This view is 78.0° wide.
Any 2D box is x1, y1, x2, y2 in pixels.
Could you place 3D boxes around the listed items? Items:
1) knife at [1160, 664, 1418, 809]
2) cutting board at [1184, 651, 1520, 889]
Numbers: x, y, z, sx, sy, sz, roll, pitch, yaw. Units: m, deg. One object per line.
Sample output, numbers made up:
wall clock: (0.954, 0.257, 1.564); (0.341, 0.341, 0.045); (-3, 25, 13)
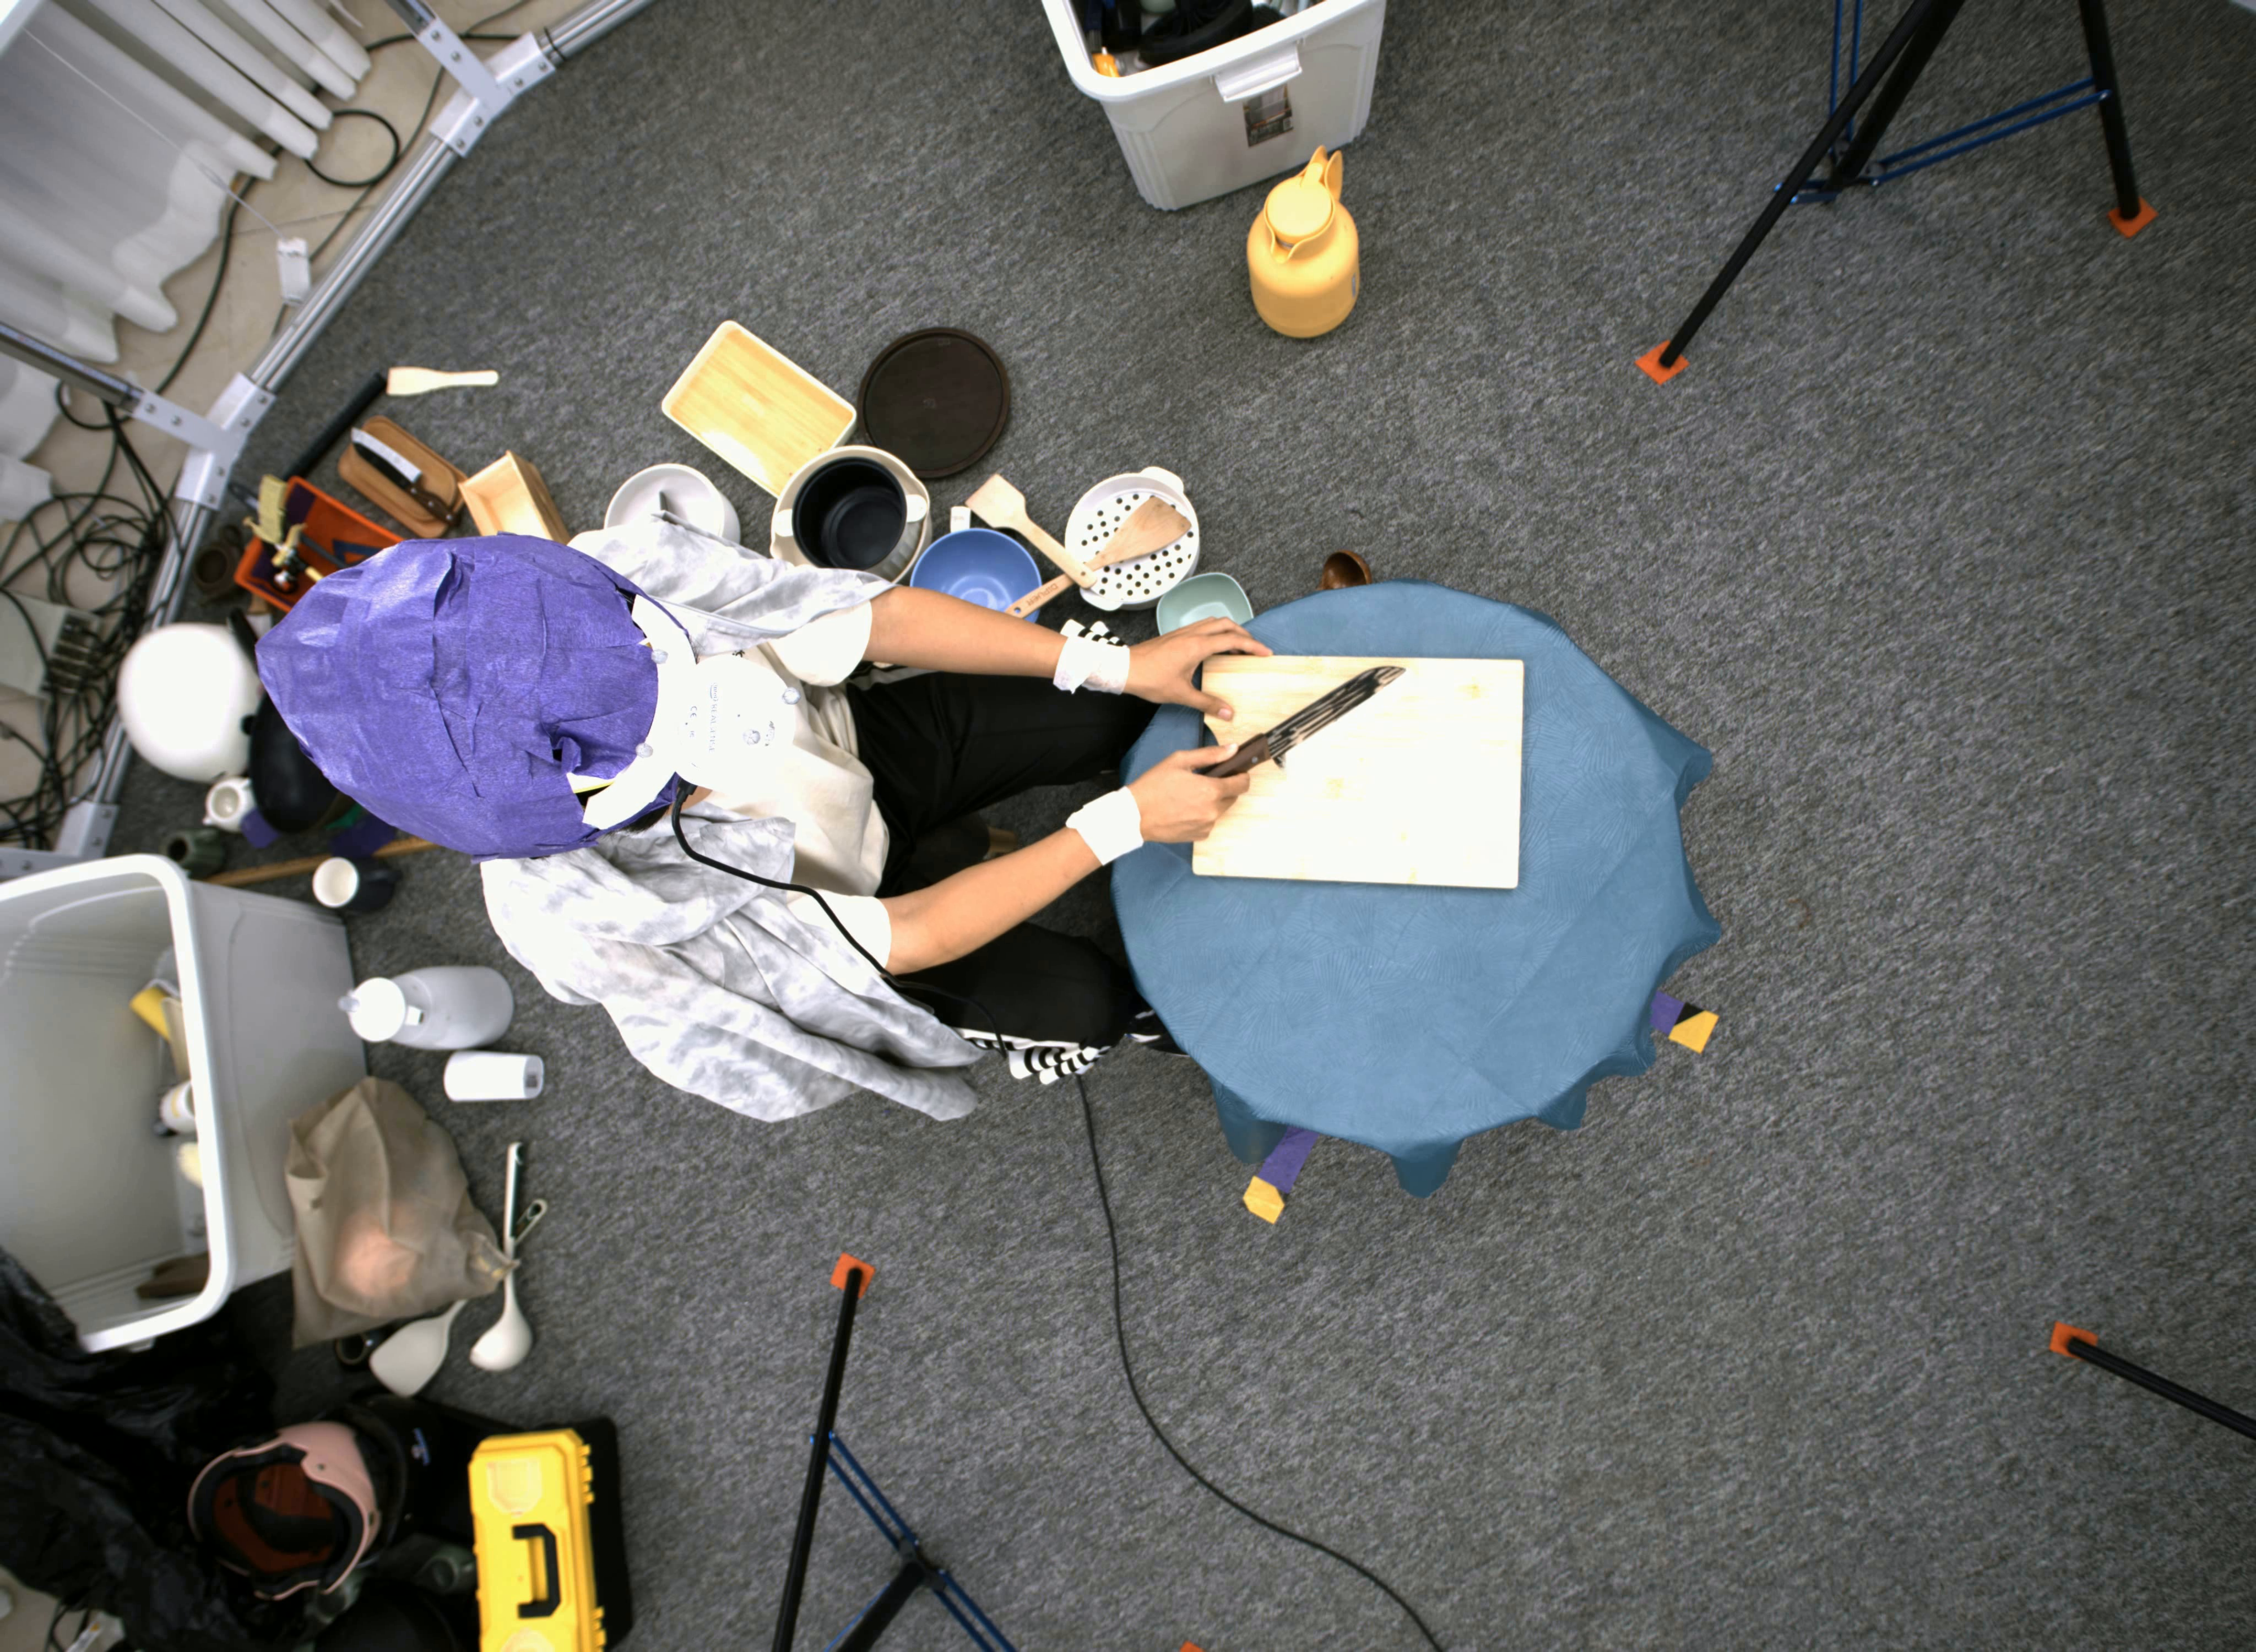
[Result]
knife: (0.170, -0.091, 1.433); (0.300, 0.069, 0.023); (-32, 47, 2)
cutting board: (0.237, -0.063, 1.463); (0.350, 0.023, 0.249); (1, 87, 11)
